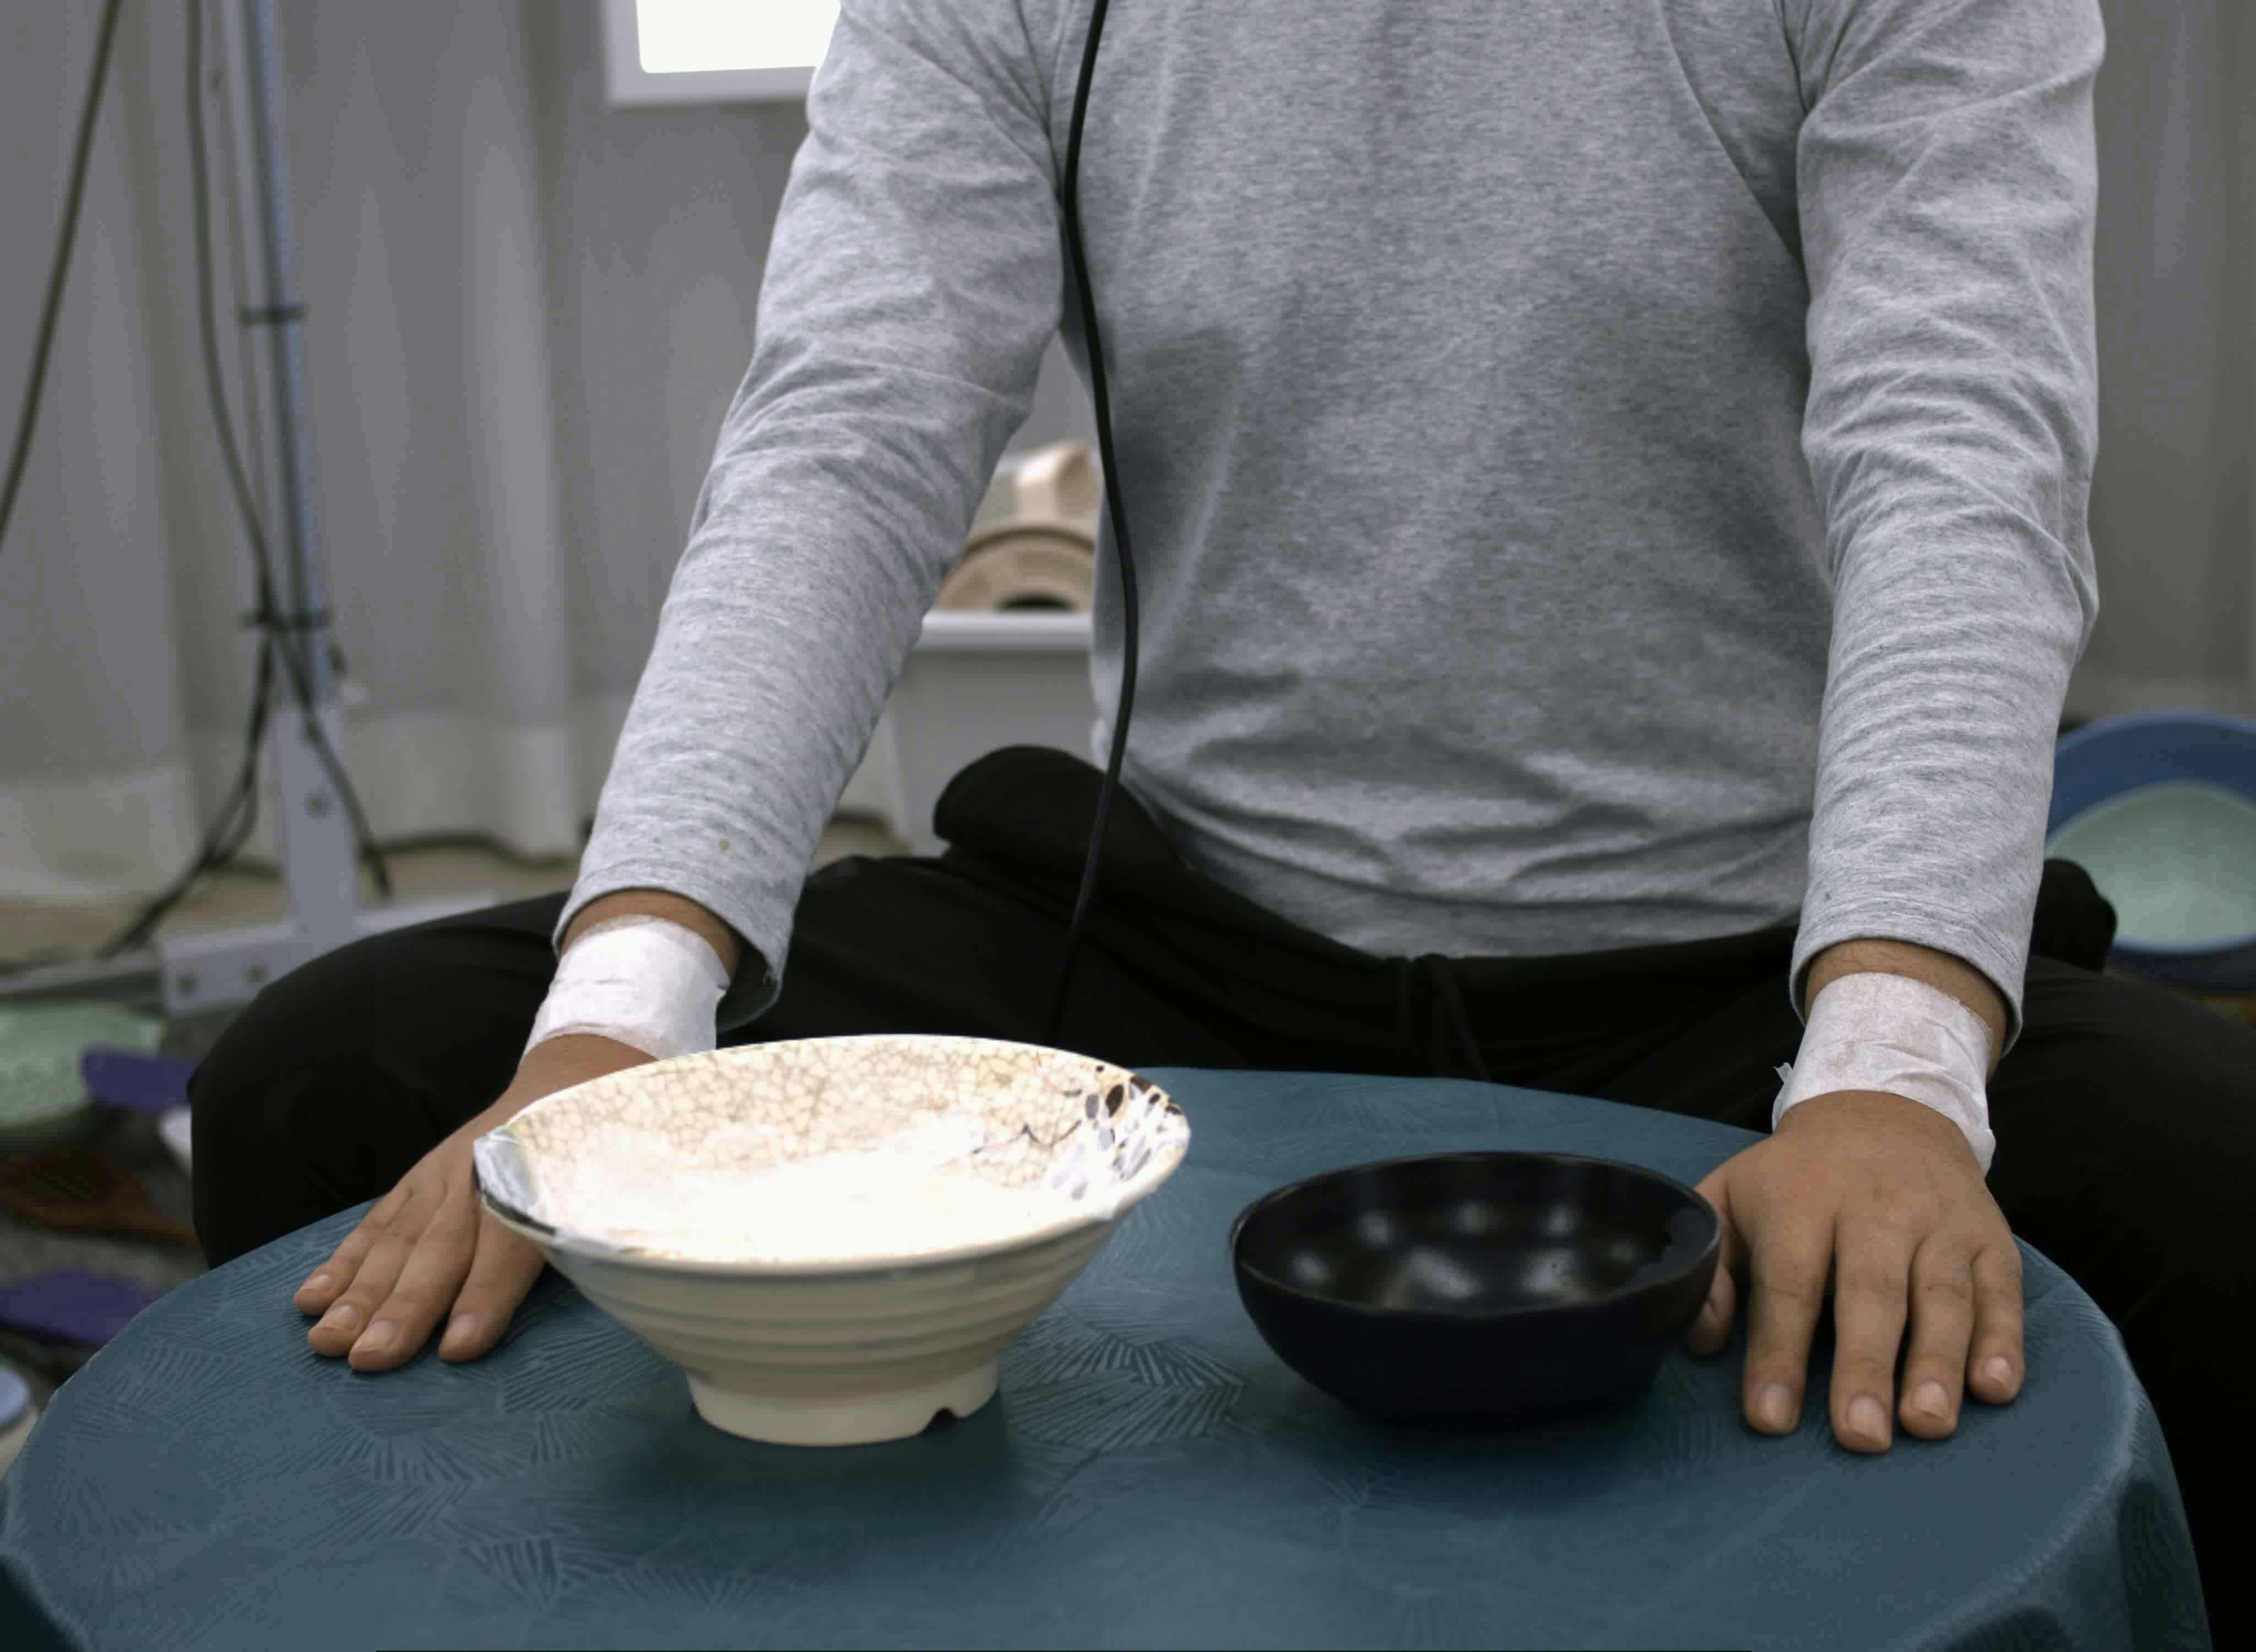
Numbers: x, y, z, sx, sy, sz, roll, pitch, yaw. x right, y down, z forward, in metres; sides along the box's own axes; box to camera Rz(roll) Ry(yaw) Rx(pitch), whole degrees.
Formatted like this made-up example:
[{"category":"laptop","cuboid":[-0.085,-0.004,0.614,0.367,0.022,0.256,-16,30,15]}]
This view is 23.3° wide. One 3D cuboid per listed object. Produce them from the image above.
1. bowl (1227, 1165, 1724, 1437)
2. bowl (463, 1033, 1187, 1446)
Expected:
[{"category":"bowl","cuboid":[0.097,0.137,1.527,0.139,0.049,0.141,-1,12,0]},{"category":"bowl","cuboid":[-0.084,0.124,1.546,0.203,0.077,0.205,-2,14,0]}]
